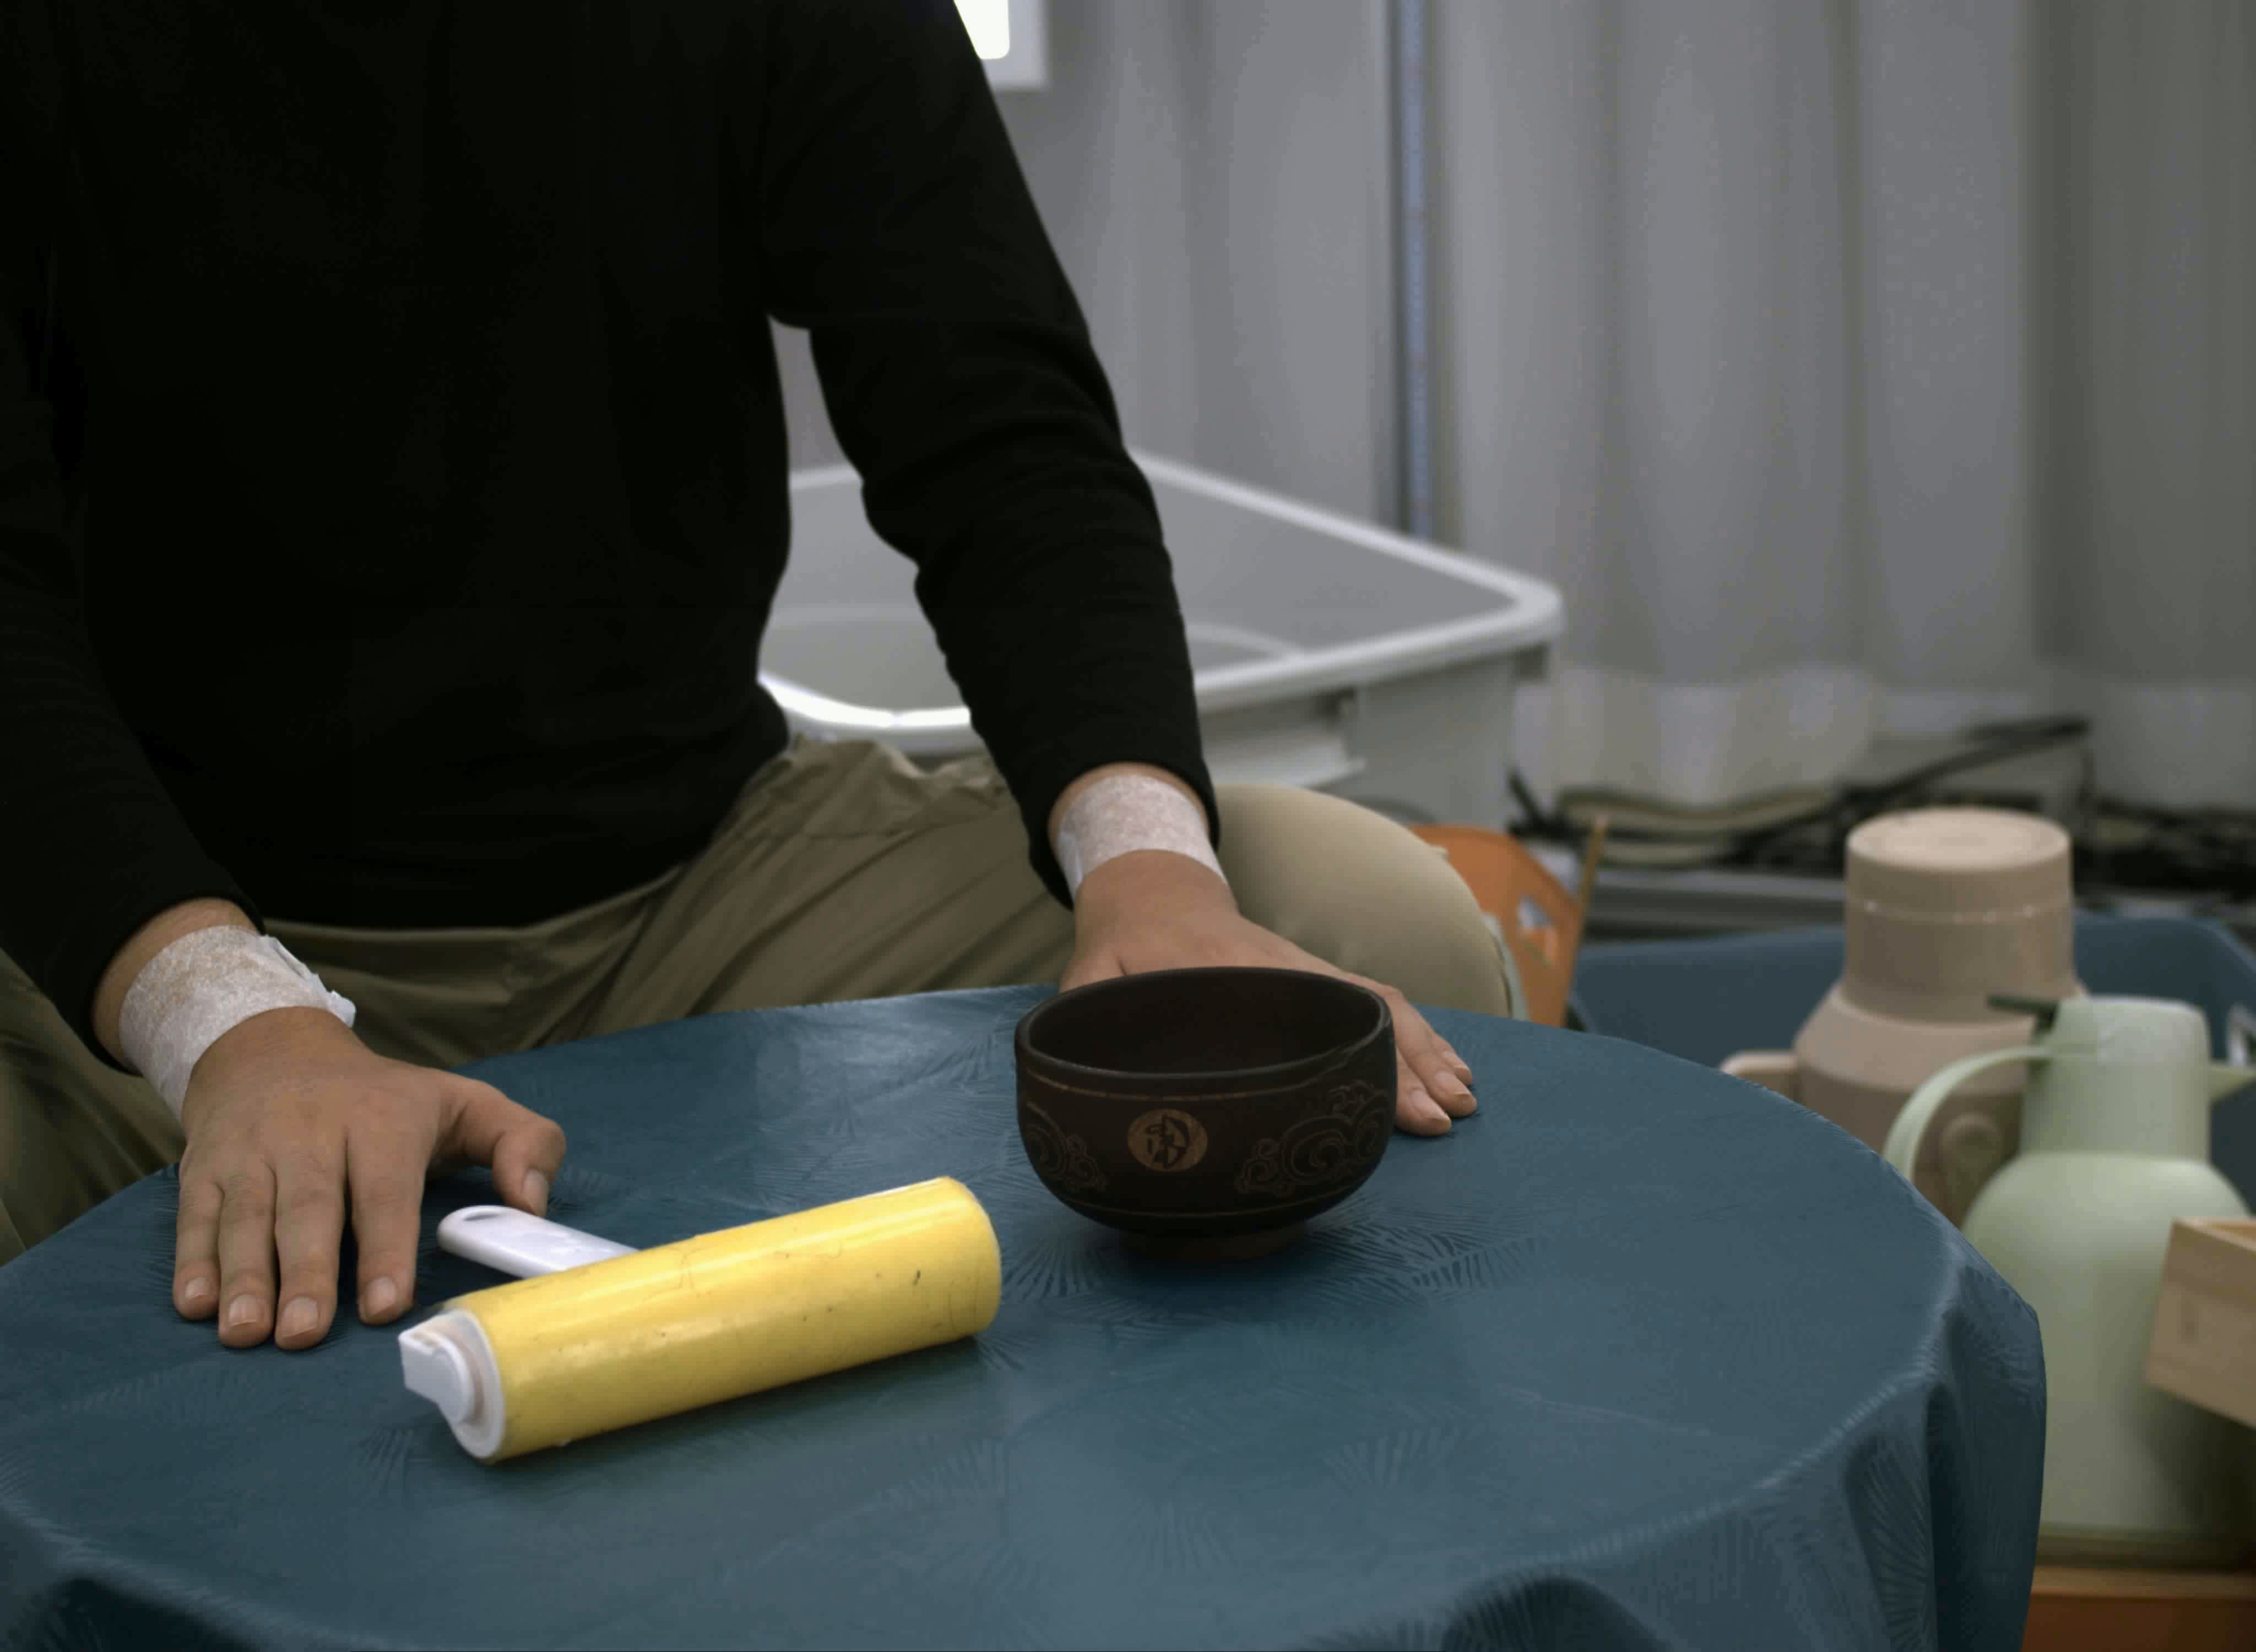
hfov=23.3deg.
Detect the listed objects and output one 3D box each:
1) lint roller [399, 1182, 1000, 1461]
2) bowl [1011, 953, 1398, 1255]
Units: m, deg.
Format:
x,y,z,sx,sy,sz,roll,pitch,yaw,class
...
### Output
x,y,z,sx,sy,sz,roll,pitch,yaw,class
-0.157,0.124,1.609,0.173,0.051,0.193,-12,22,-32,lint roller
0.024,0.089,1.663,0.117,0.069,0.119,-2,15,0,bowl
